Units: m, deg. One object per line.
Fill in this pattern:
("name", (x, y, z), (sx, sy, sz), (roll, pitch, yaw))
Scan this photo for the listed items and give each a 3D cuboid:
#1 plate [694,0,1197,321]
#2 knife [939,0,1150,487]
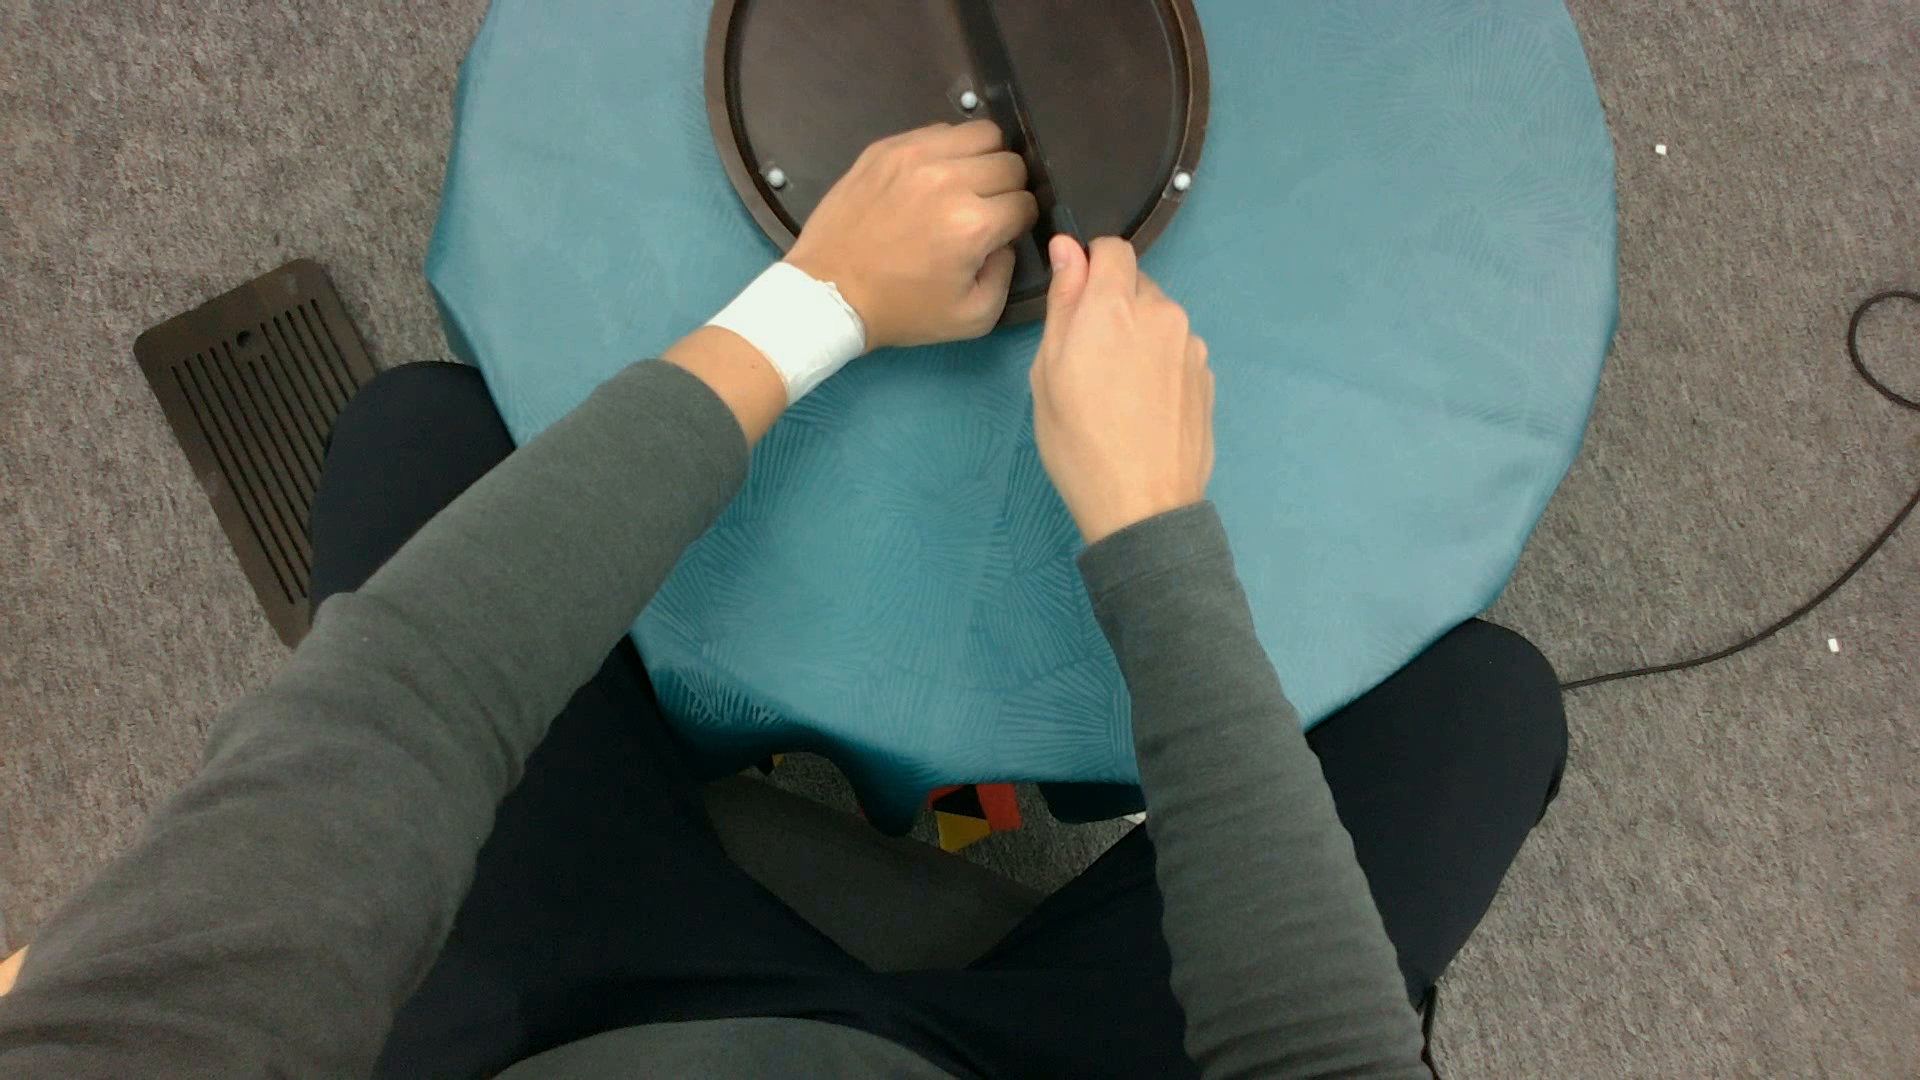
("plate", (-0.006, -0.233, 0.697), (0.255, 0.029, 0.255), (1, 83, -7))
("knife", (0.029, -0.168, 0.648), (0.021, 0.081, 0.302), (-18, 80, -7))
